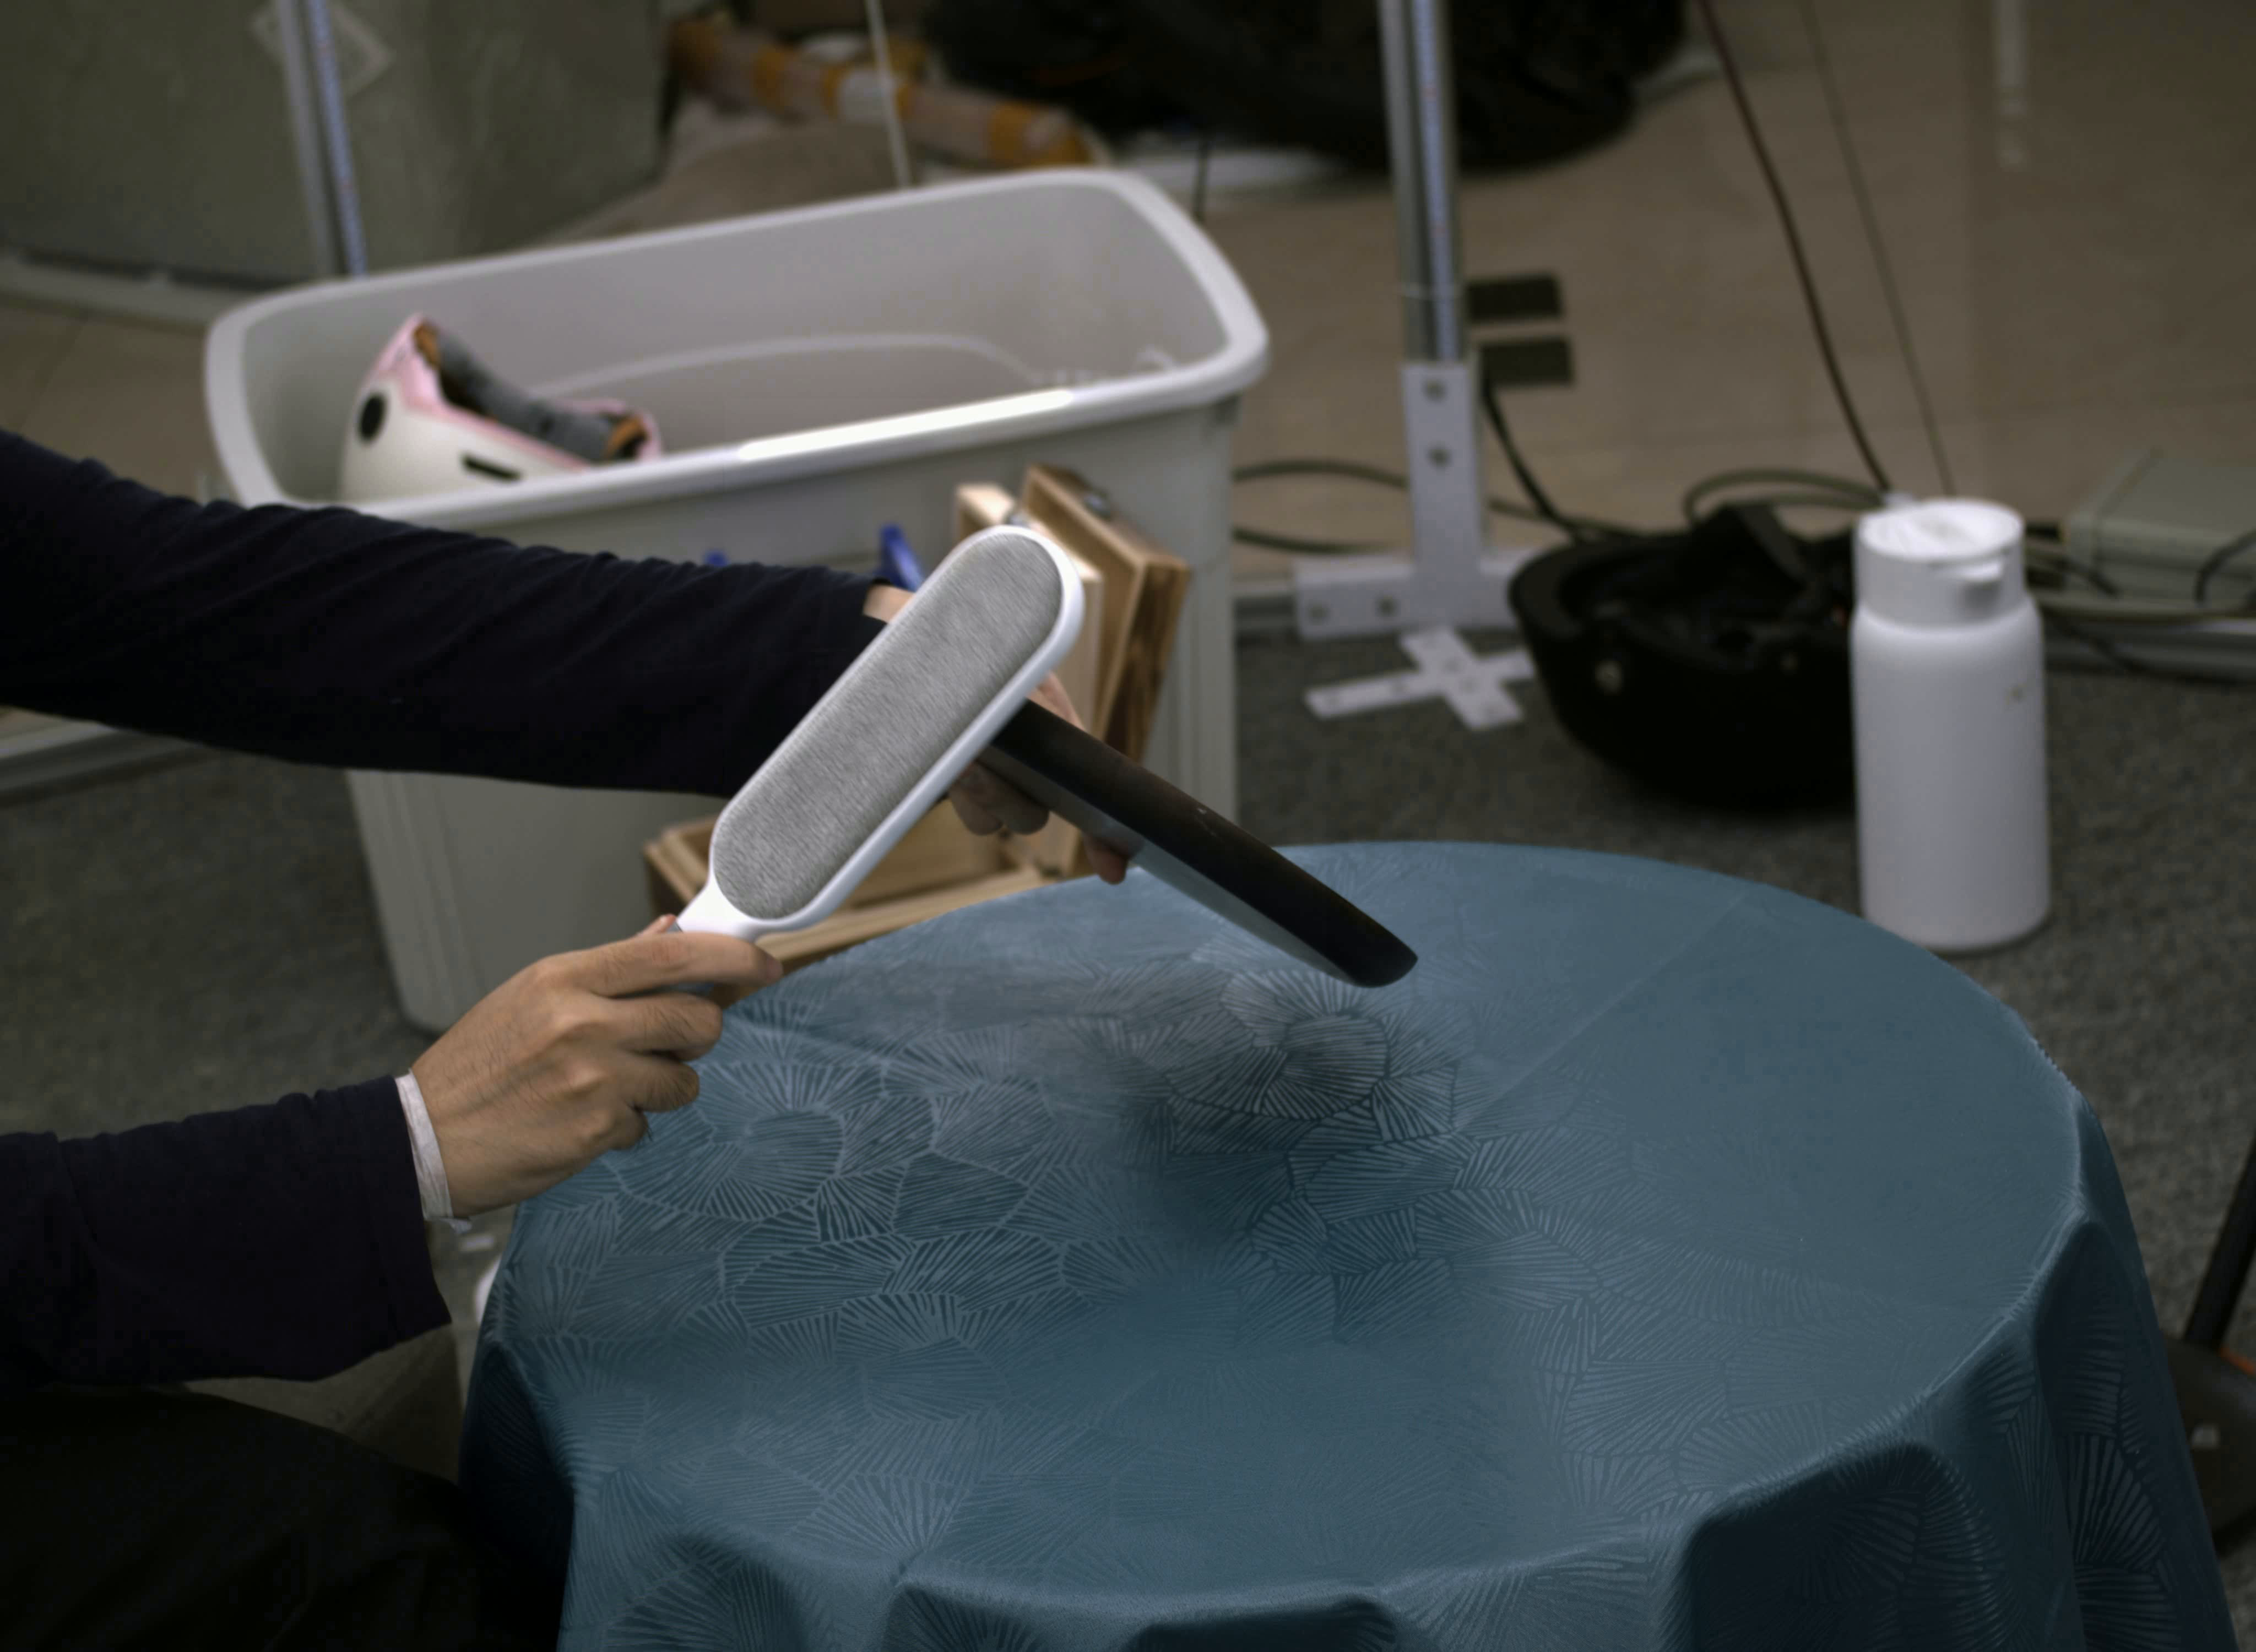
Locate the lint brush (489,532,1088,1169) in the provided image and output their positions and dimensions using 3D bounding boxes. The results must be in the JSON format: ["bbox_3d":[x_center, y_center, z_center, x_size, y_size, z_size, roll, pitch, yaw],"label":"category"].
[{"bbox_3d":[-0.127,0.011,2.055,0.059,0.310,0.021,47,13,17],"label":"lint brush"}]

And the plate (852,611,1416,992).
[{"bbox_3d":[0.000,-0.008,2.179,0.252,0.257,0.029,28,83,51],"label":"plate"}]
